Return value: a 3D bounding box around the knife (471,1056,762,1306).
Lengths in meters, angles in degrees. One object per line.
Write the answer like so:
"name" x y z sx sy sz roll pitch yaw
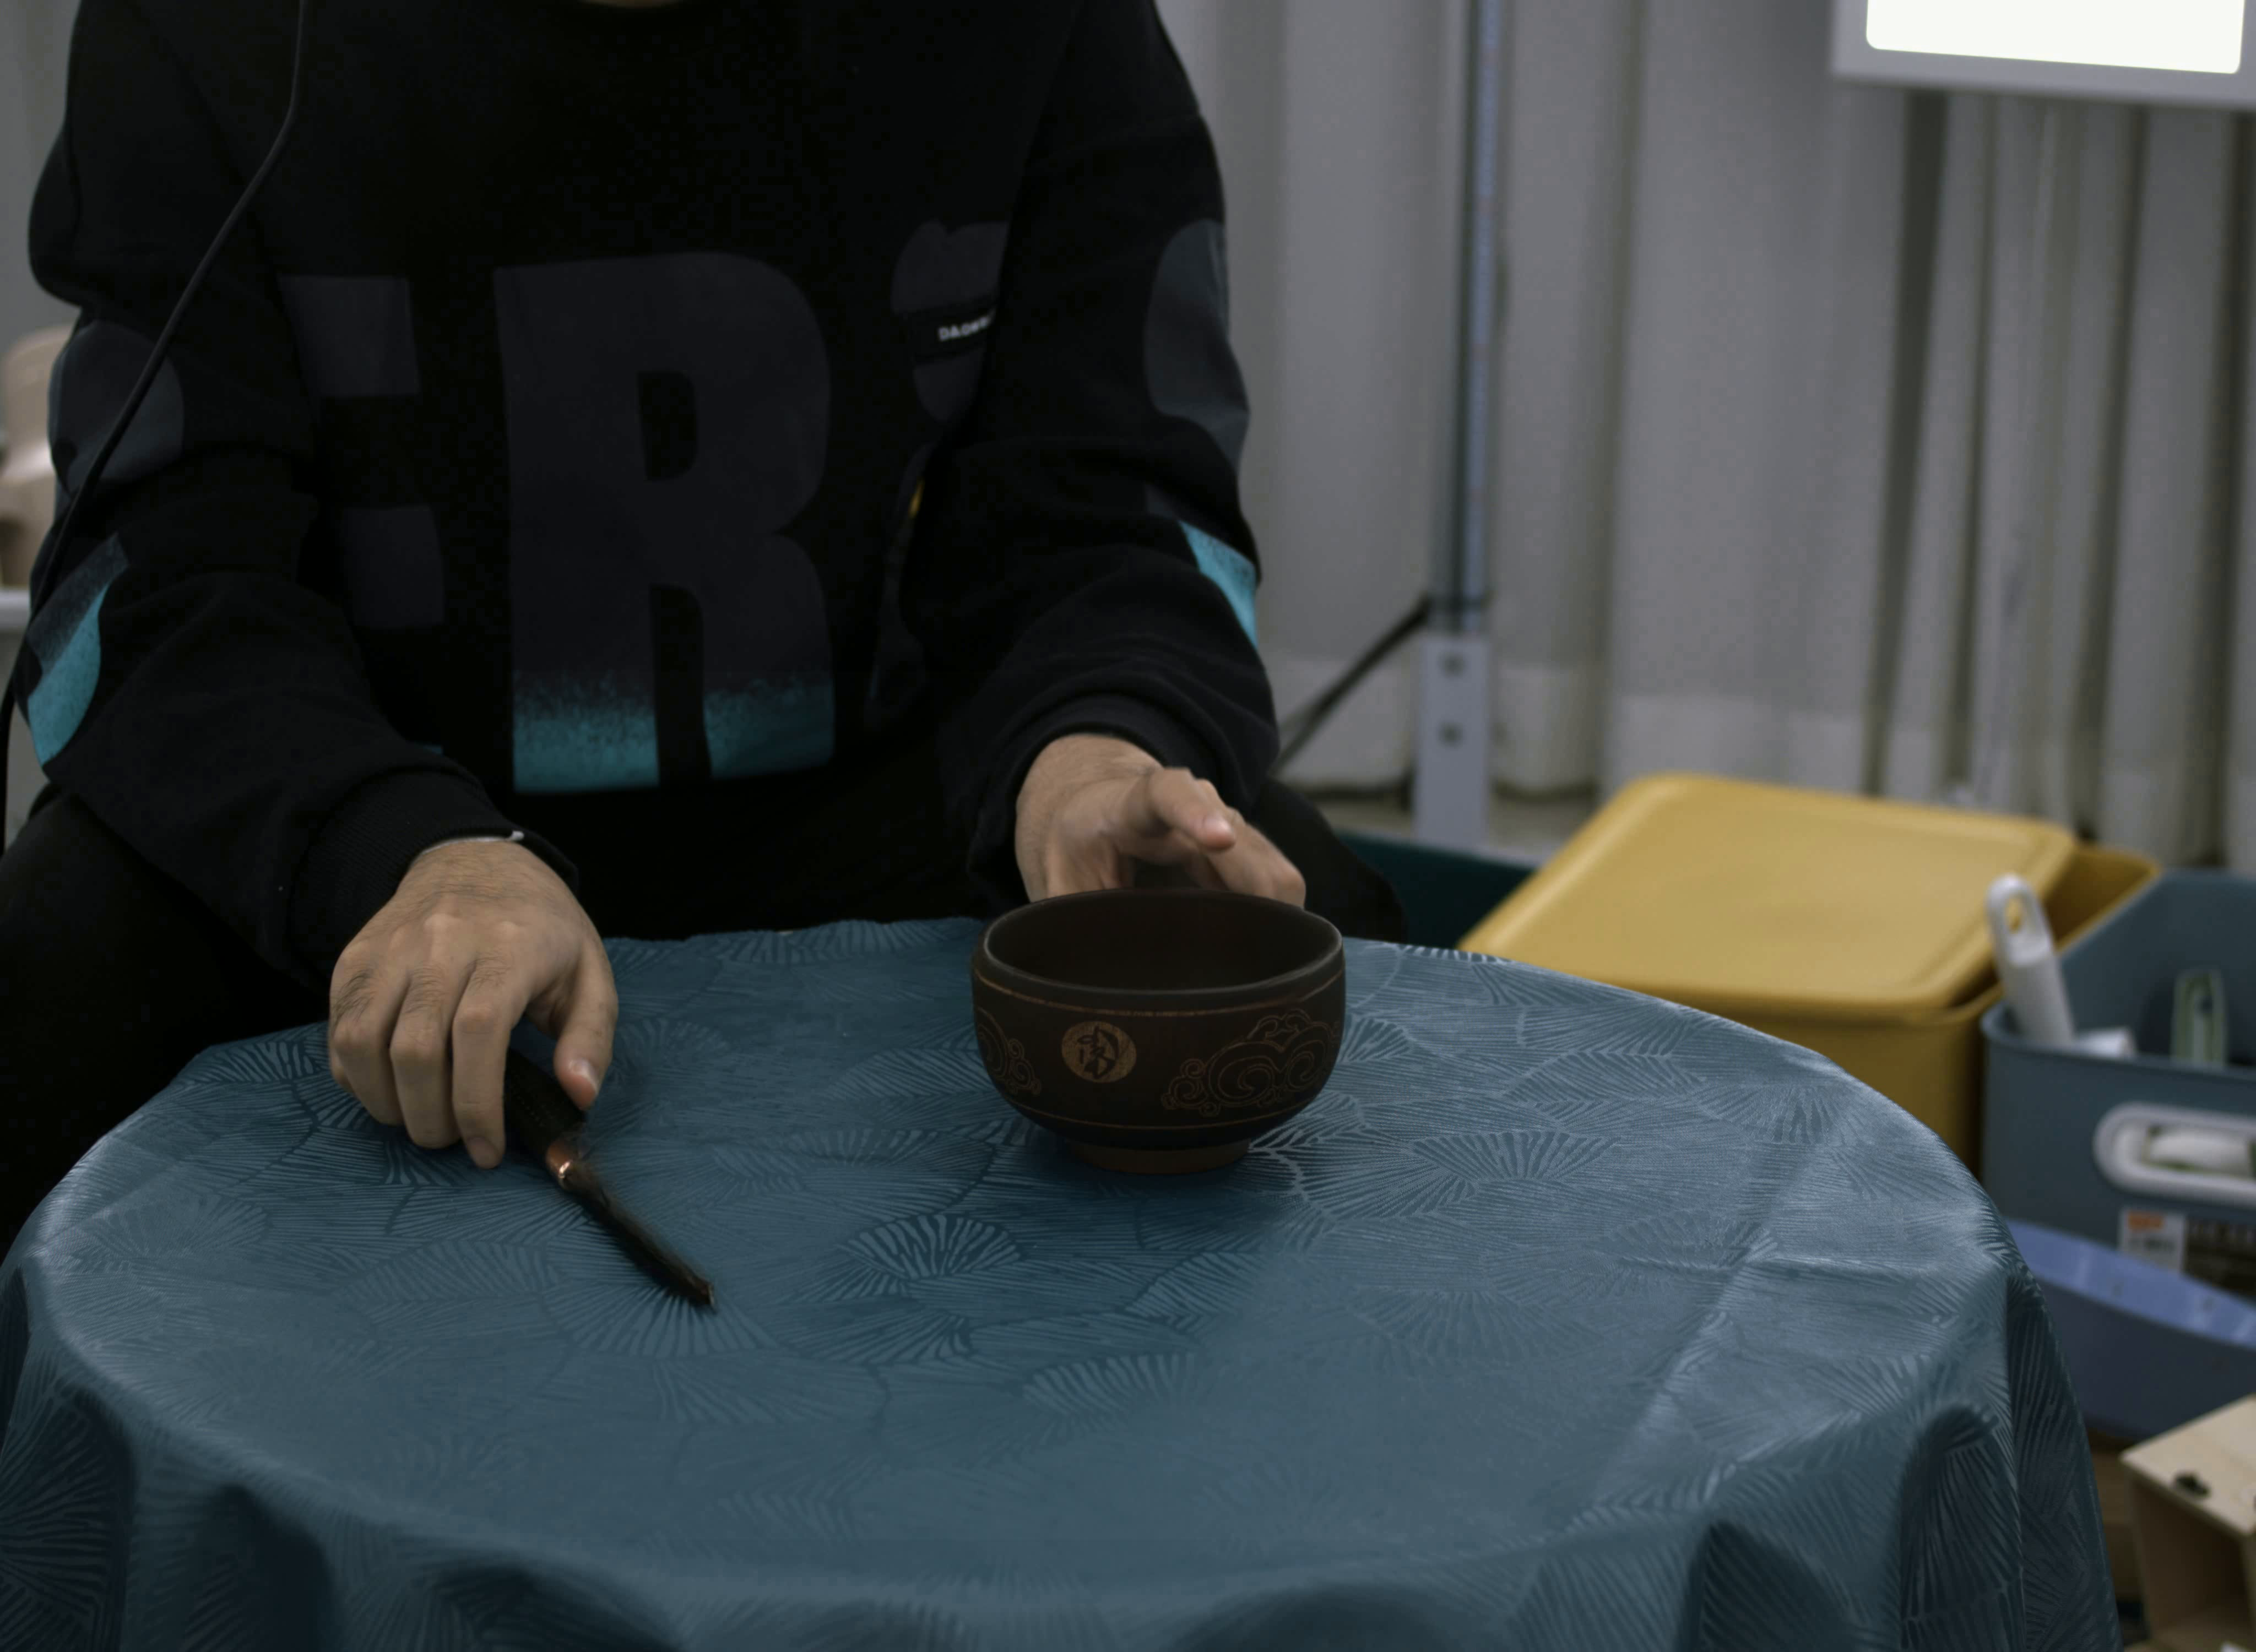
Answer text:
"knife" -0.159 0.108 1.611 0.026 0.017 0.223 0 15 -26

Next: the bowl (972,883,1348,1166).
"bowl" 0.010 0.065 1.650 0.117 0.070 0.117 2 14 0
